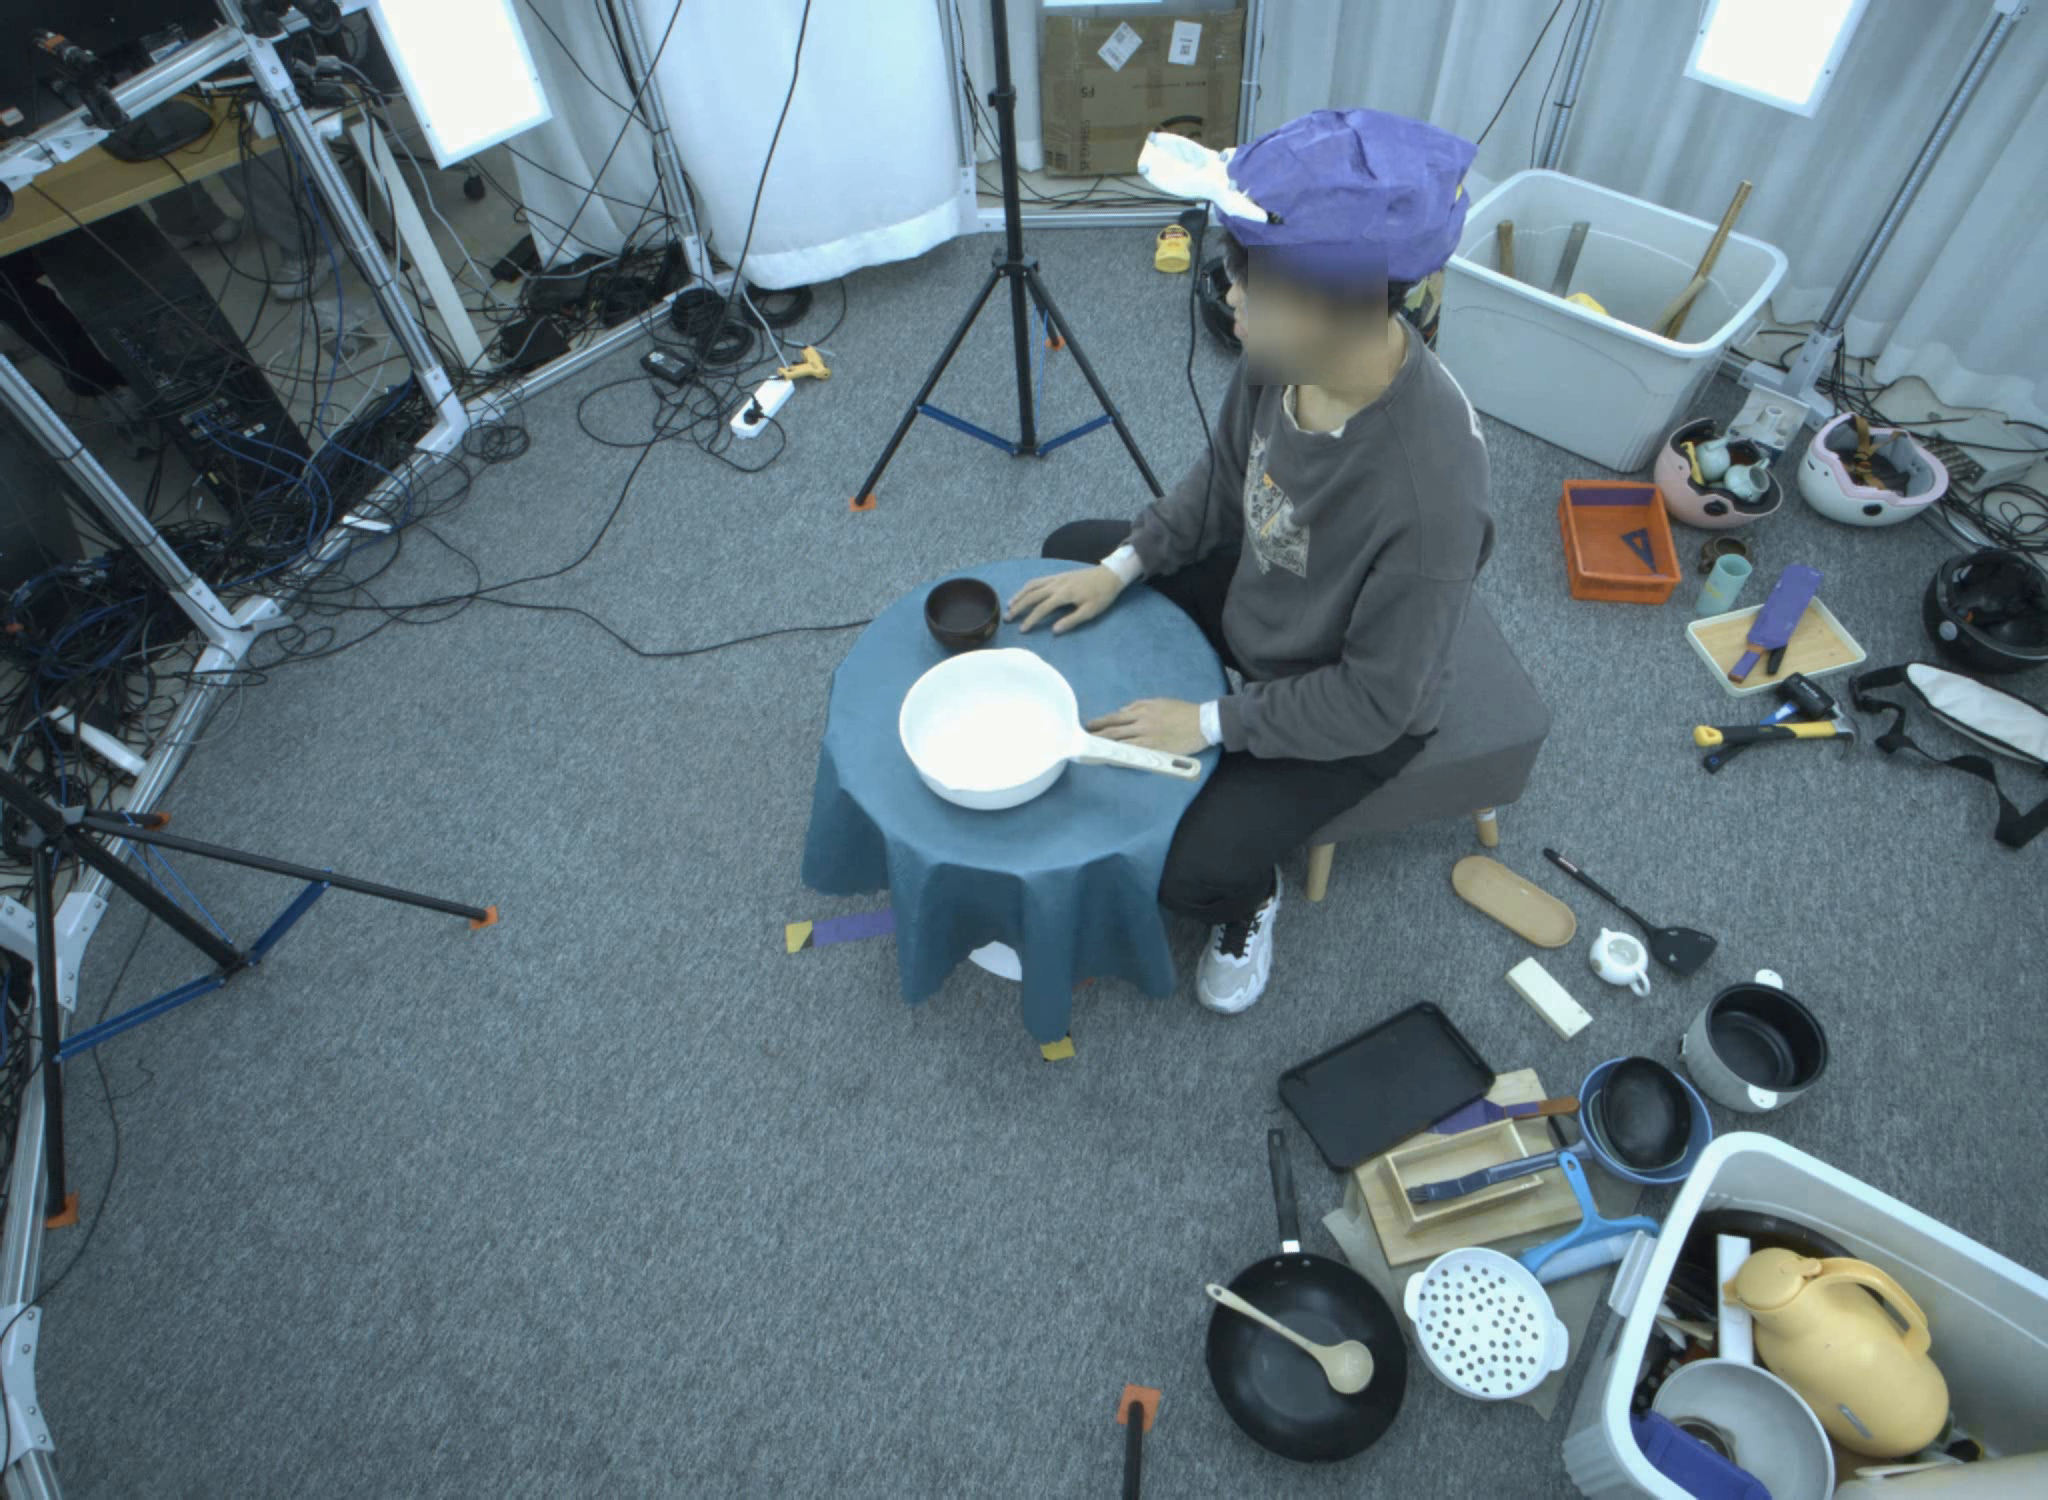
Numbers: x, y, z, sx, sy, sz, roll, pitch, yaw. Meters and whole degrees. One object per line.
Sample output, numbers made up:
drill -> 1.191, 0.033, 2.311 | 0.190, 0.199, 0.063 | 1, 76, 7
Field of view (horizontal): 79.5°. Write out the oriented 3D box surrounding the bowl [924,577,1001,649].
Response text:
bowl -> -0.094, -0.203, 1.890 | 0.118, 0.070, 0.117 | 0, 53, 1

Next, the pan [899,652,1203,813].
pan -> 0.037, 0.002, 1.722 | 0.430, 0.103, 0.263 | 17, 55, 13
